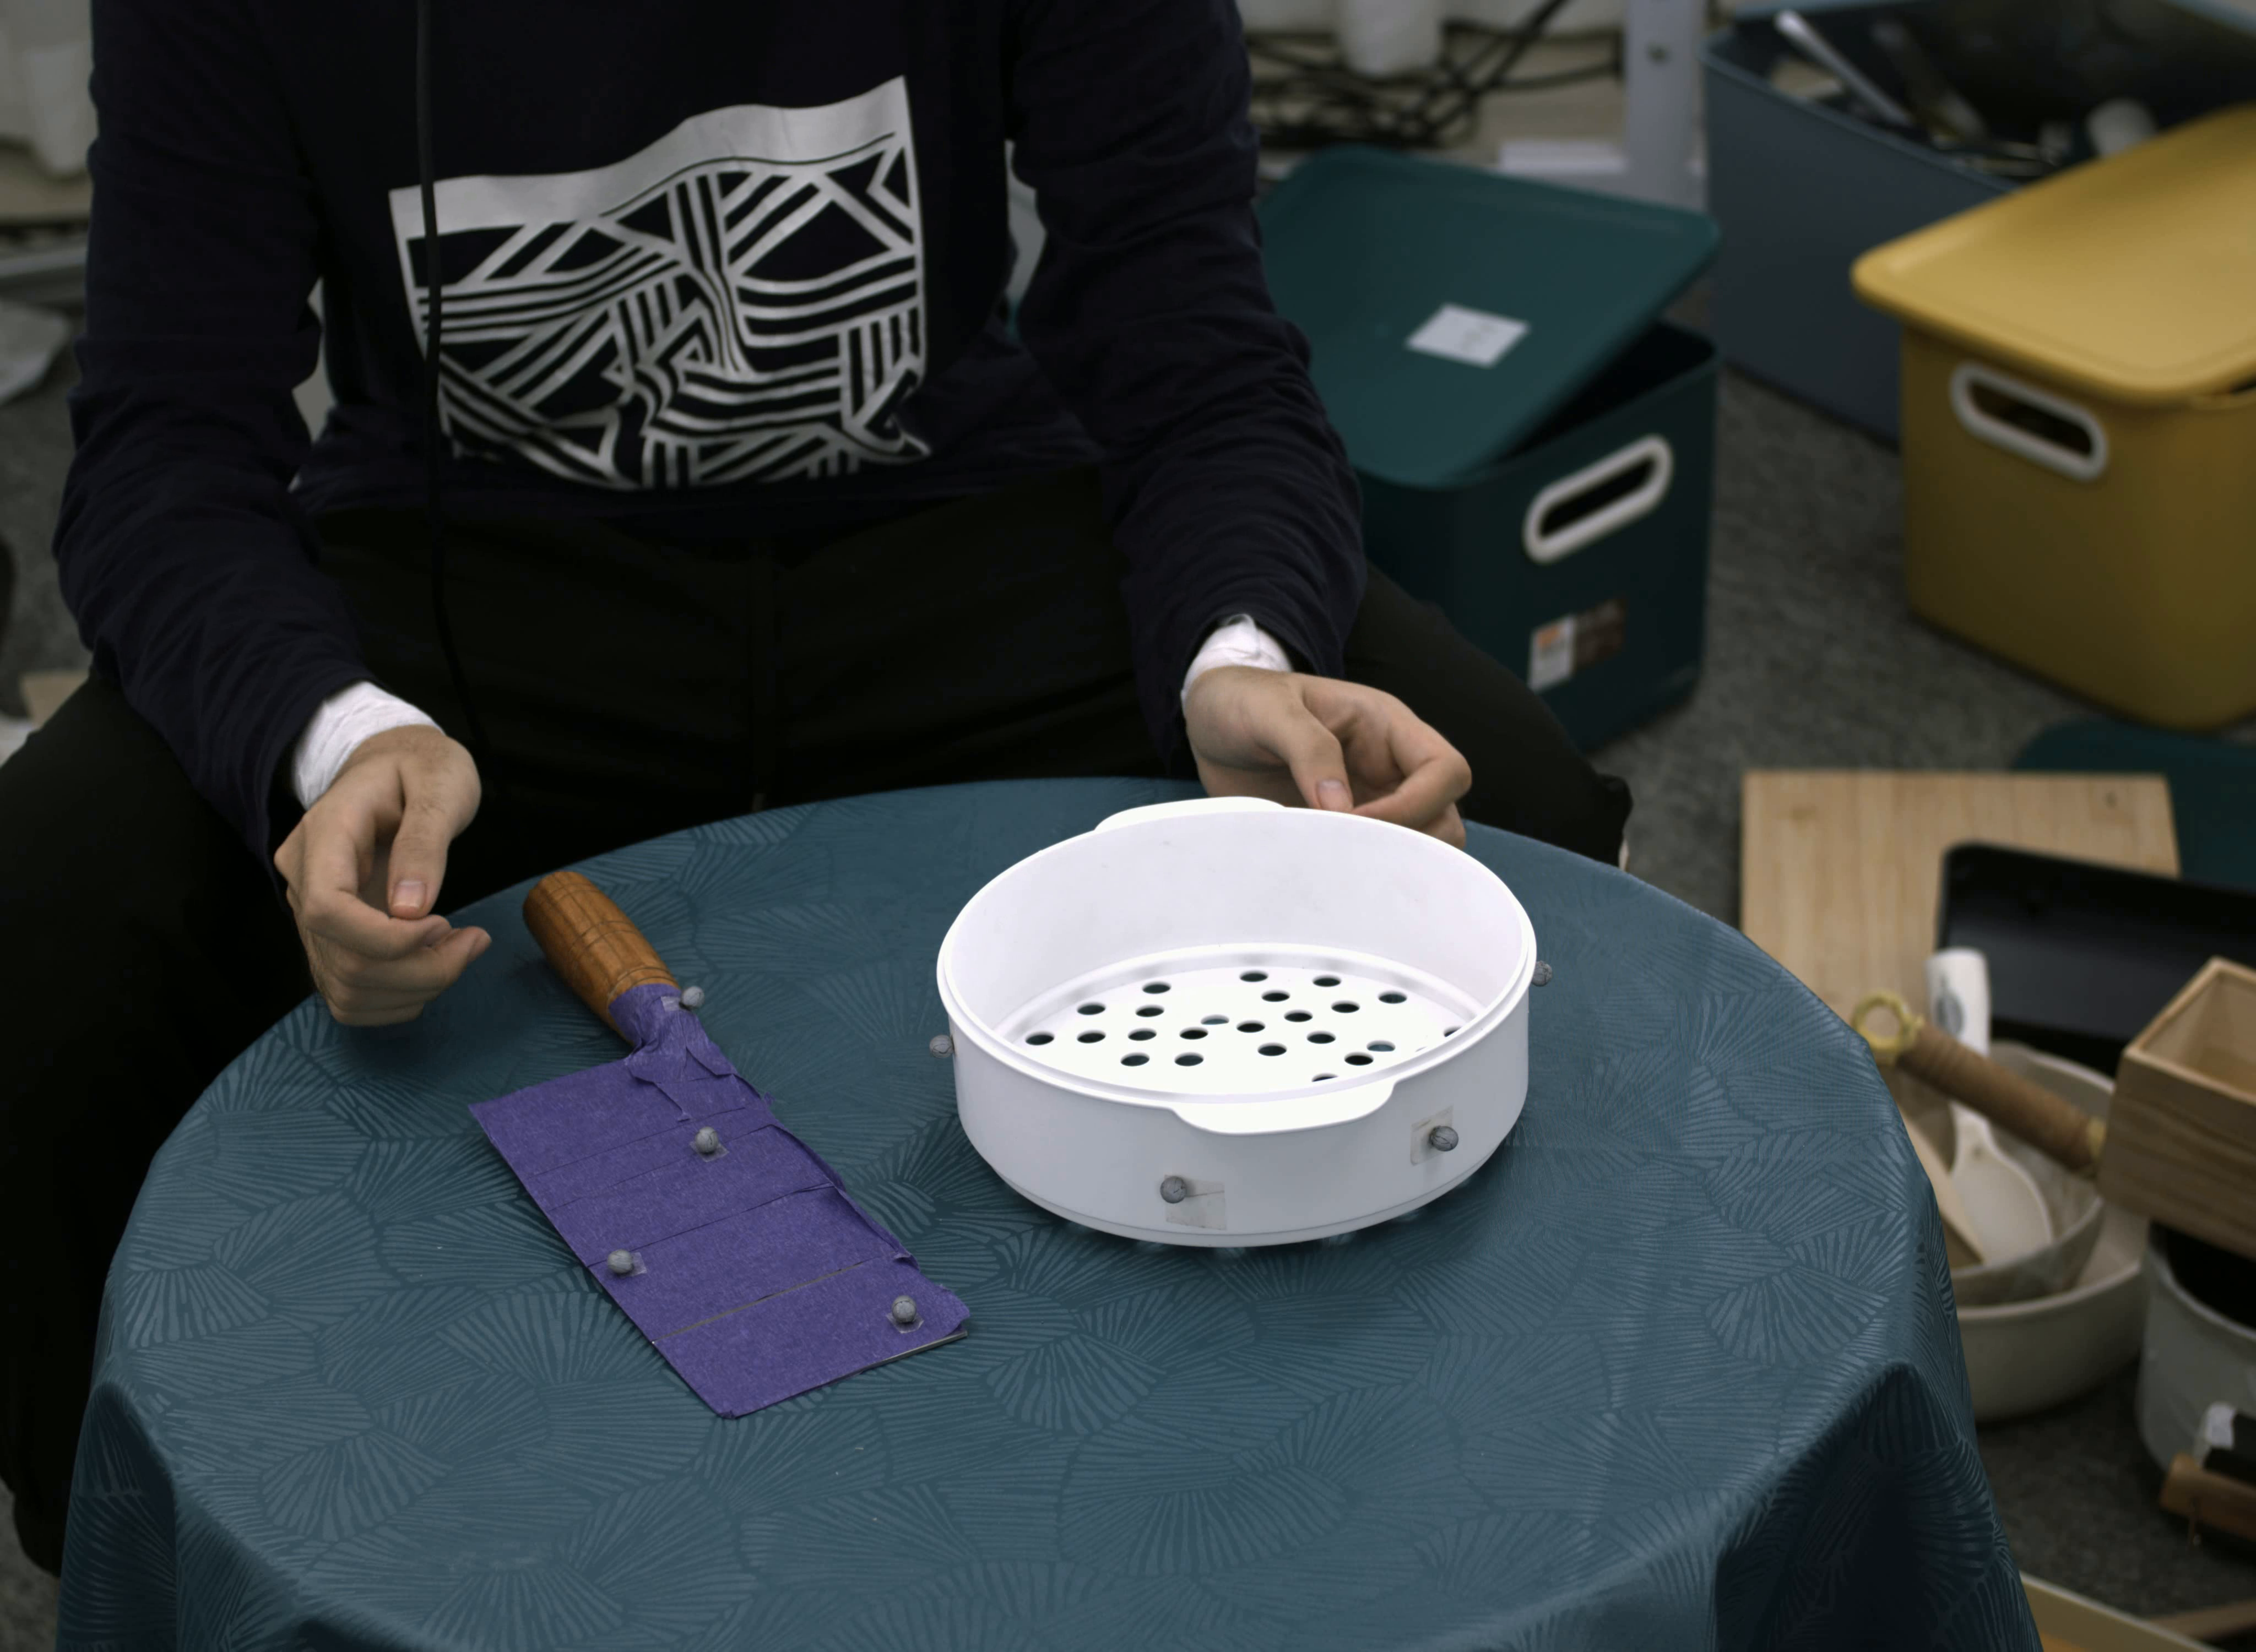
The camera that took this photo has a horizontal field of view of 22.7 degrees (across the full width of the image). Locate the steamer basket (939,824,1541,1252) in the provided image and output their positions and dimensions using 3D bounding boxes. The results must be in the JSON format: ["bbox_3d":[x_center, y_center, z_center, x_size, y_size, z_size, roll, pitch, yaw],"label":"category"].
[{"bbox_3d":[0.038,0.072,1.885,0.201,0.068,0.233,-5,24,-7],"label":"steamer basket"}]

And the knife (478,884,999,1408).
[{"bbox_3d":[-0.160,0.103,1.884,0.104,0.032,0.317,-16,31,-25],"label":"knife"}]
